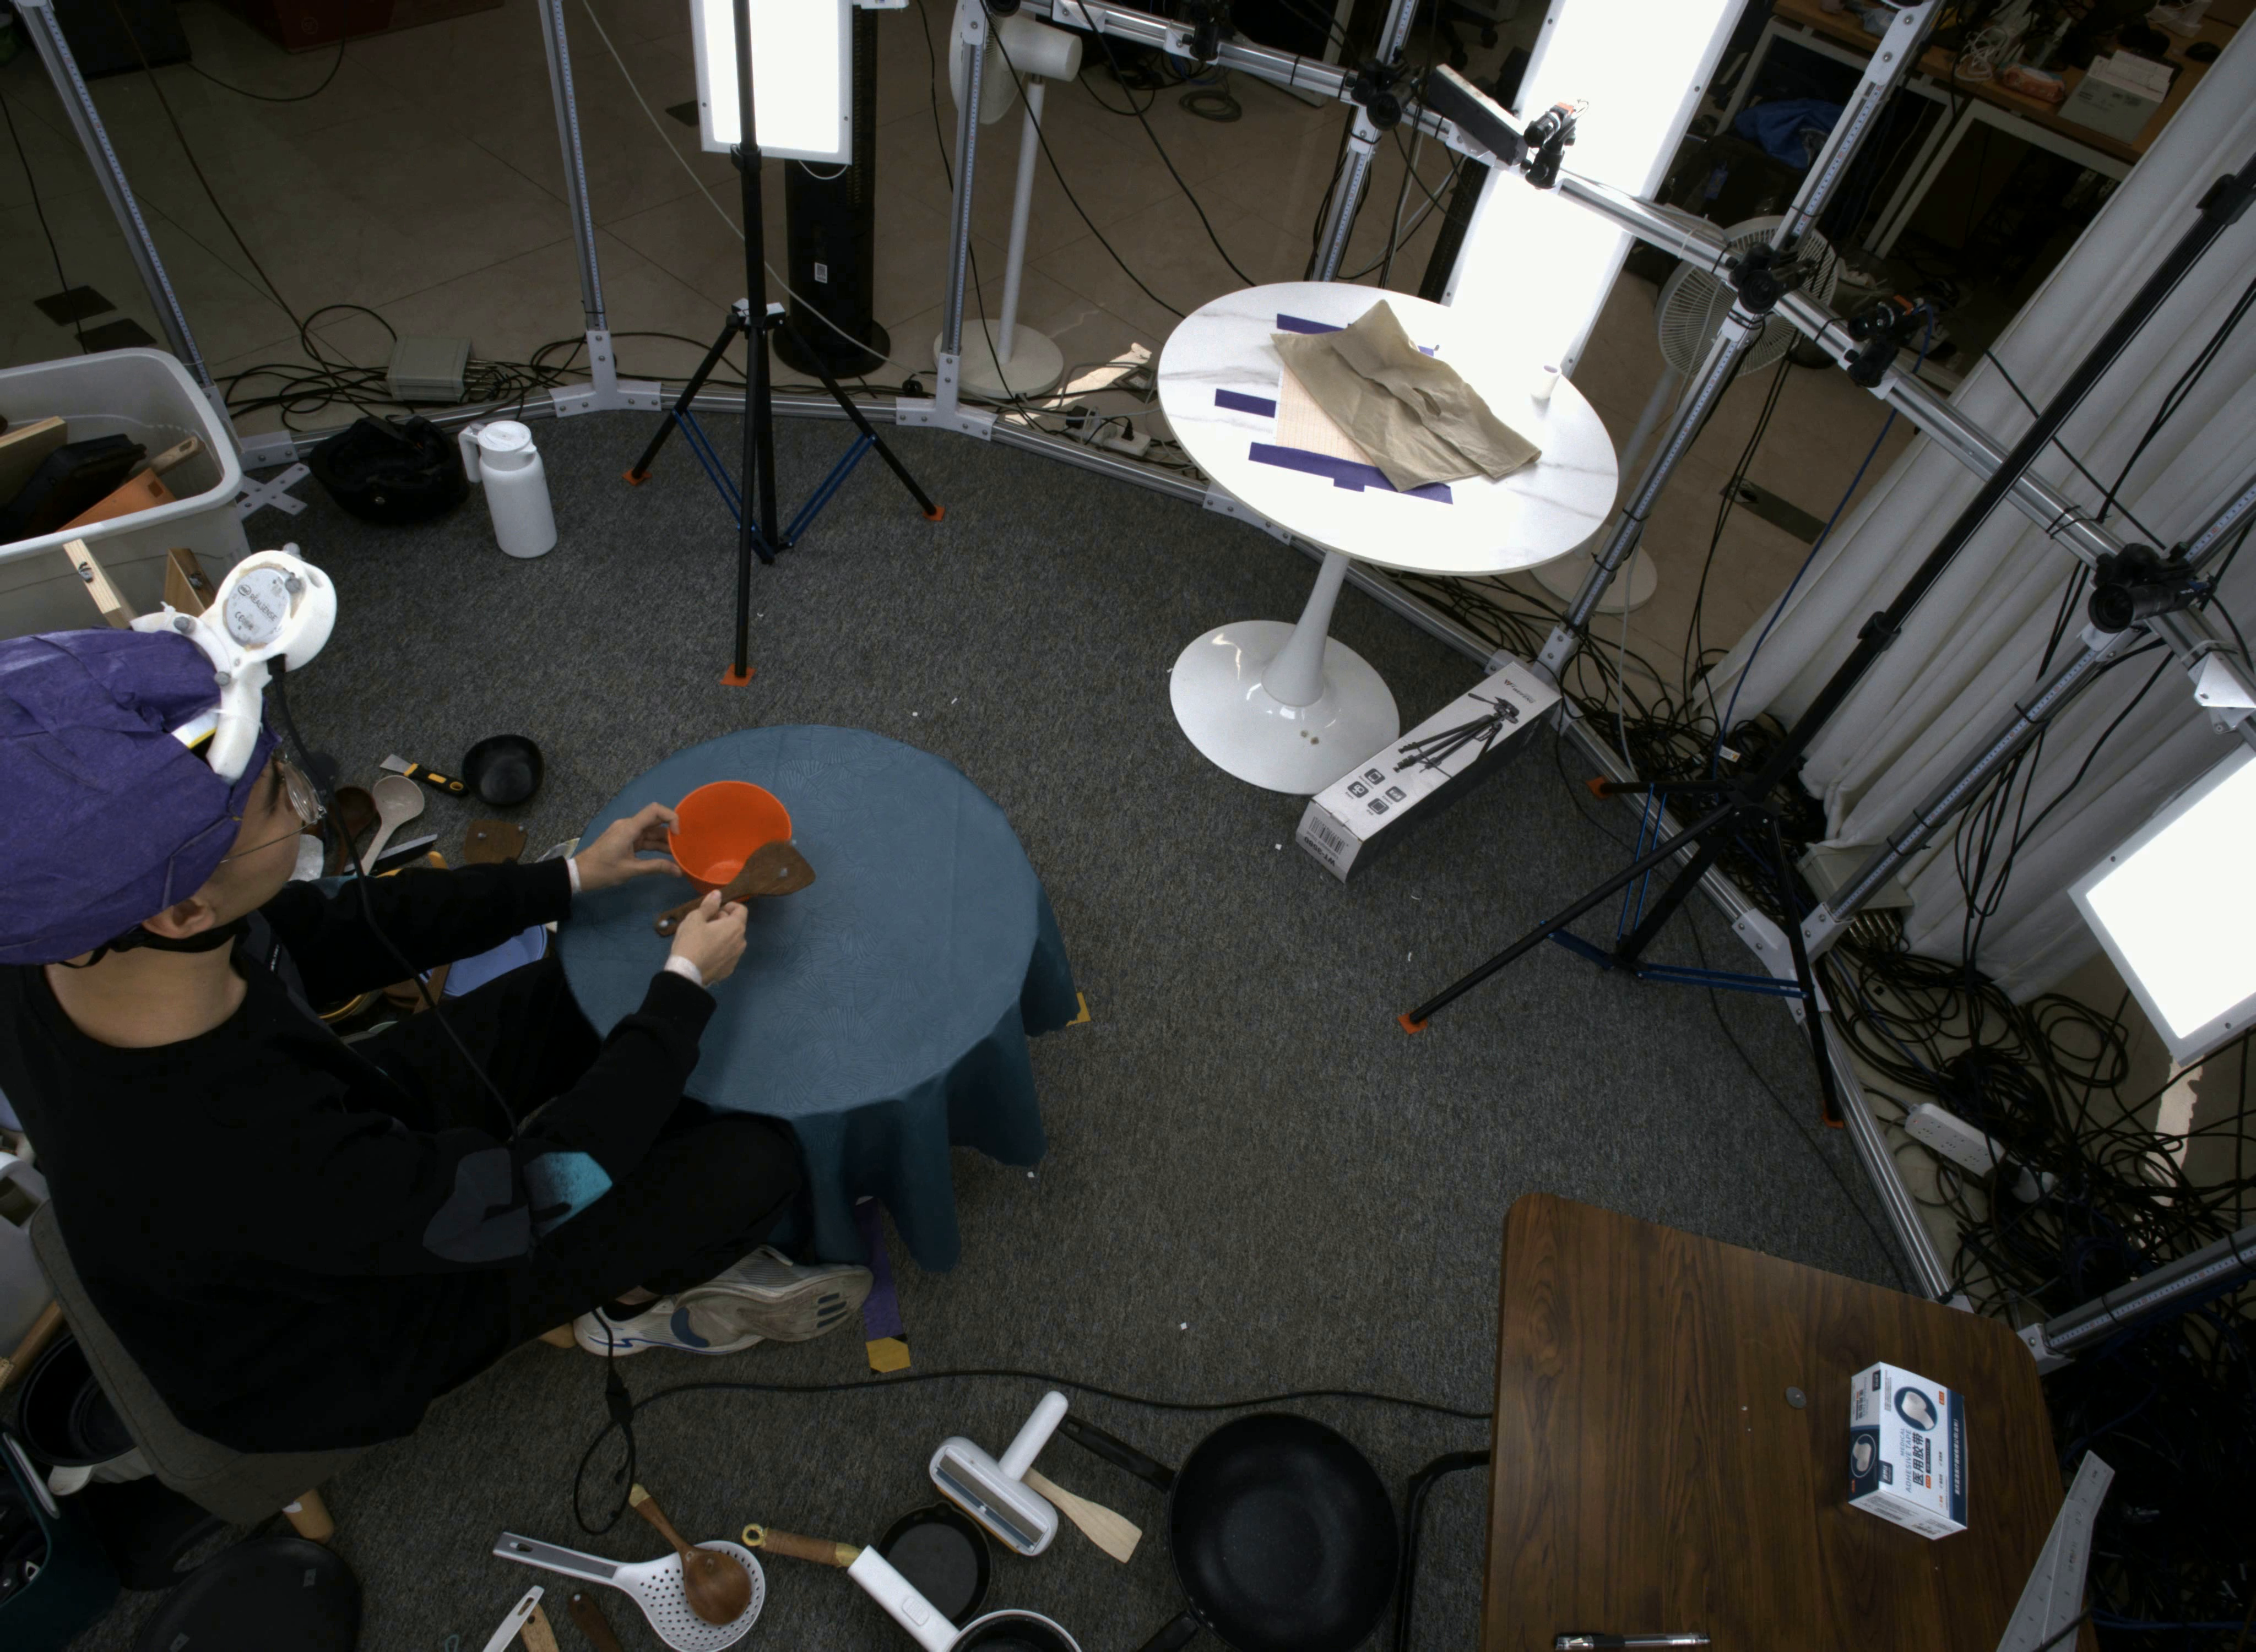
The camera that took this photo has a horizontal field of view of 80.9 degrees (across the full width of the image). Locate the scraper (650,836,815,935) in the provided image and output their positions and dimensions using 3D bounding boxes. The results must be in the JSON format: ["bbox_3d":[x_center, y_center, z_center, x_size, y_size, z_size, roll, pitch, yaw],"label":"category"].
[{"bbox_3d":[-0.466,0.074,1.515,0.075,0.011,0.212,49,44,10],"label":"scraper"}]

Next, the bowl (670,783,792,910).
[{"bbox_3d":[-0.495,0.035,1.619,0.148,0.107,0.145,9,50,-9],"label":"bowl"}]
